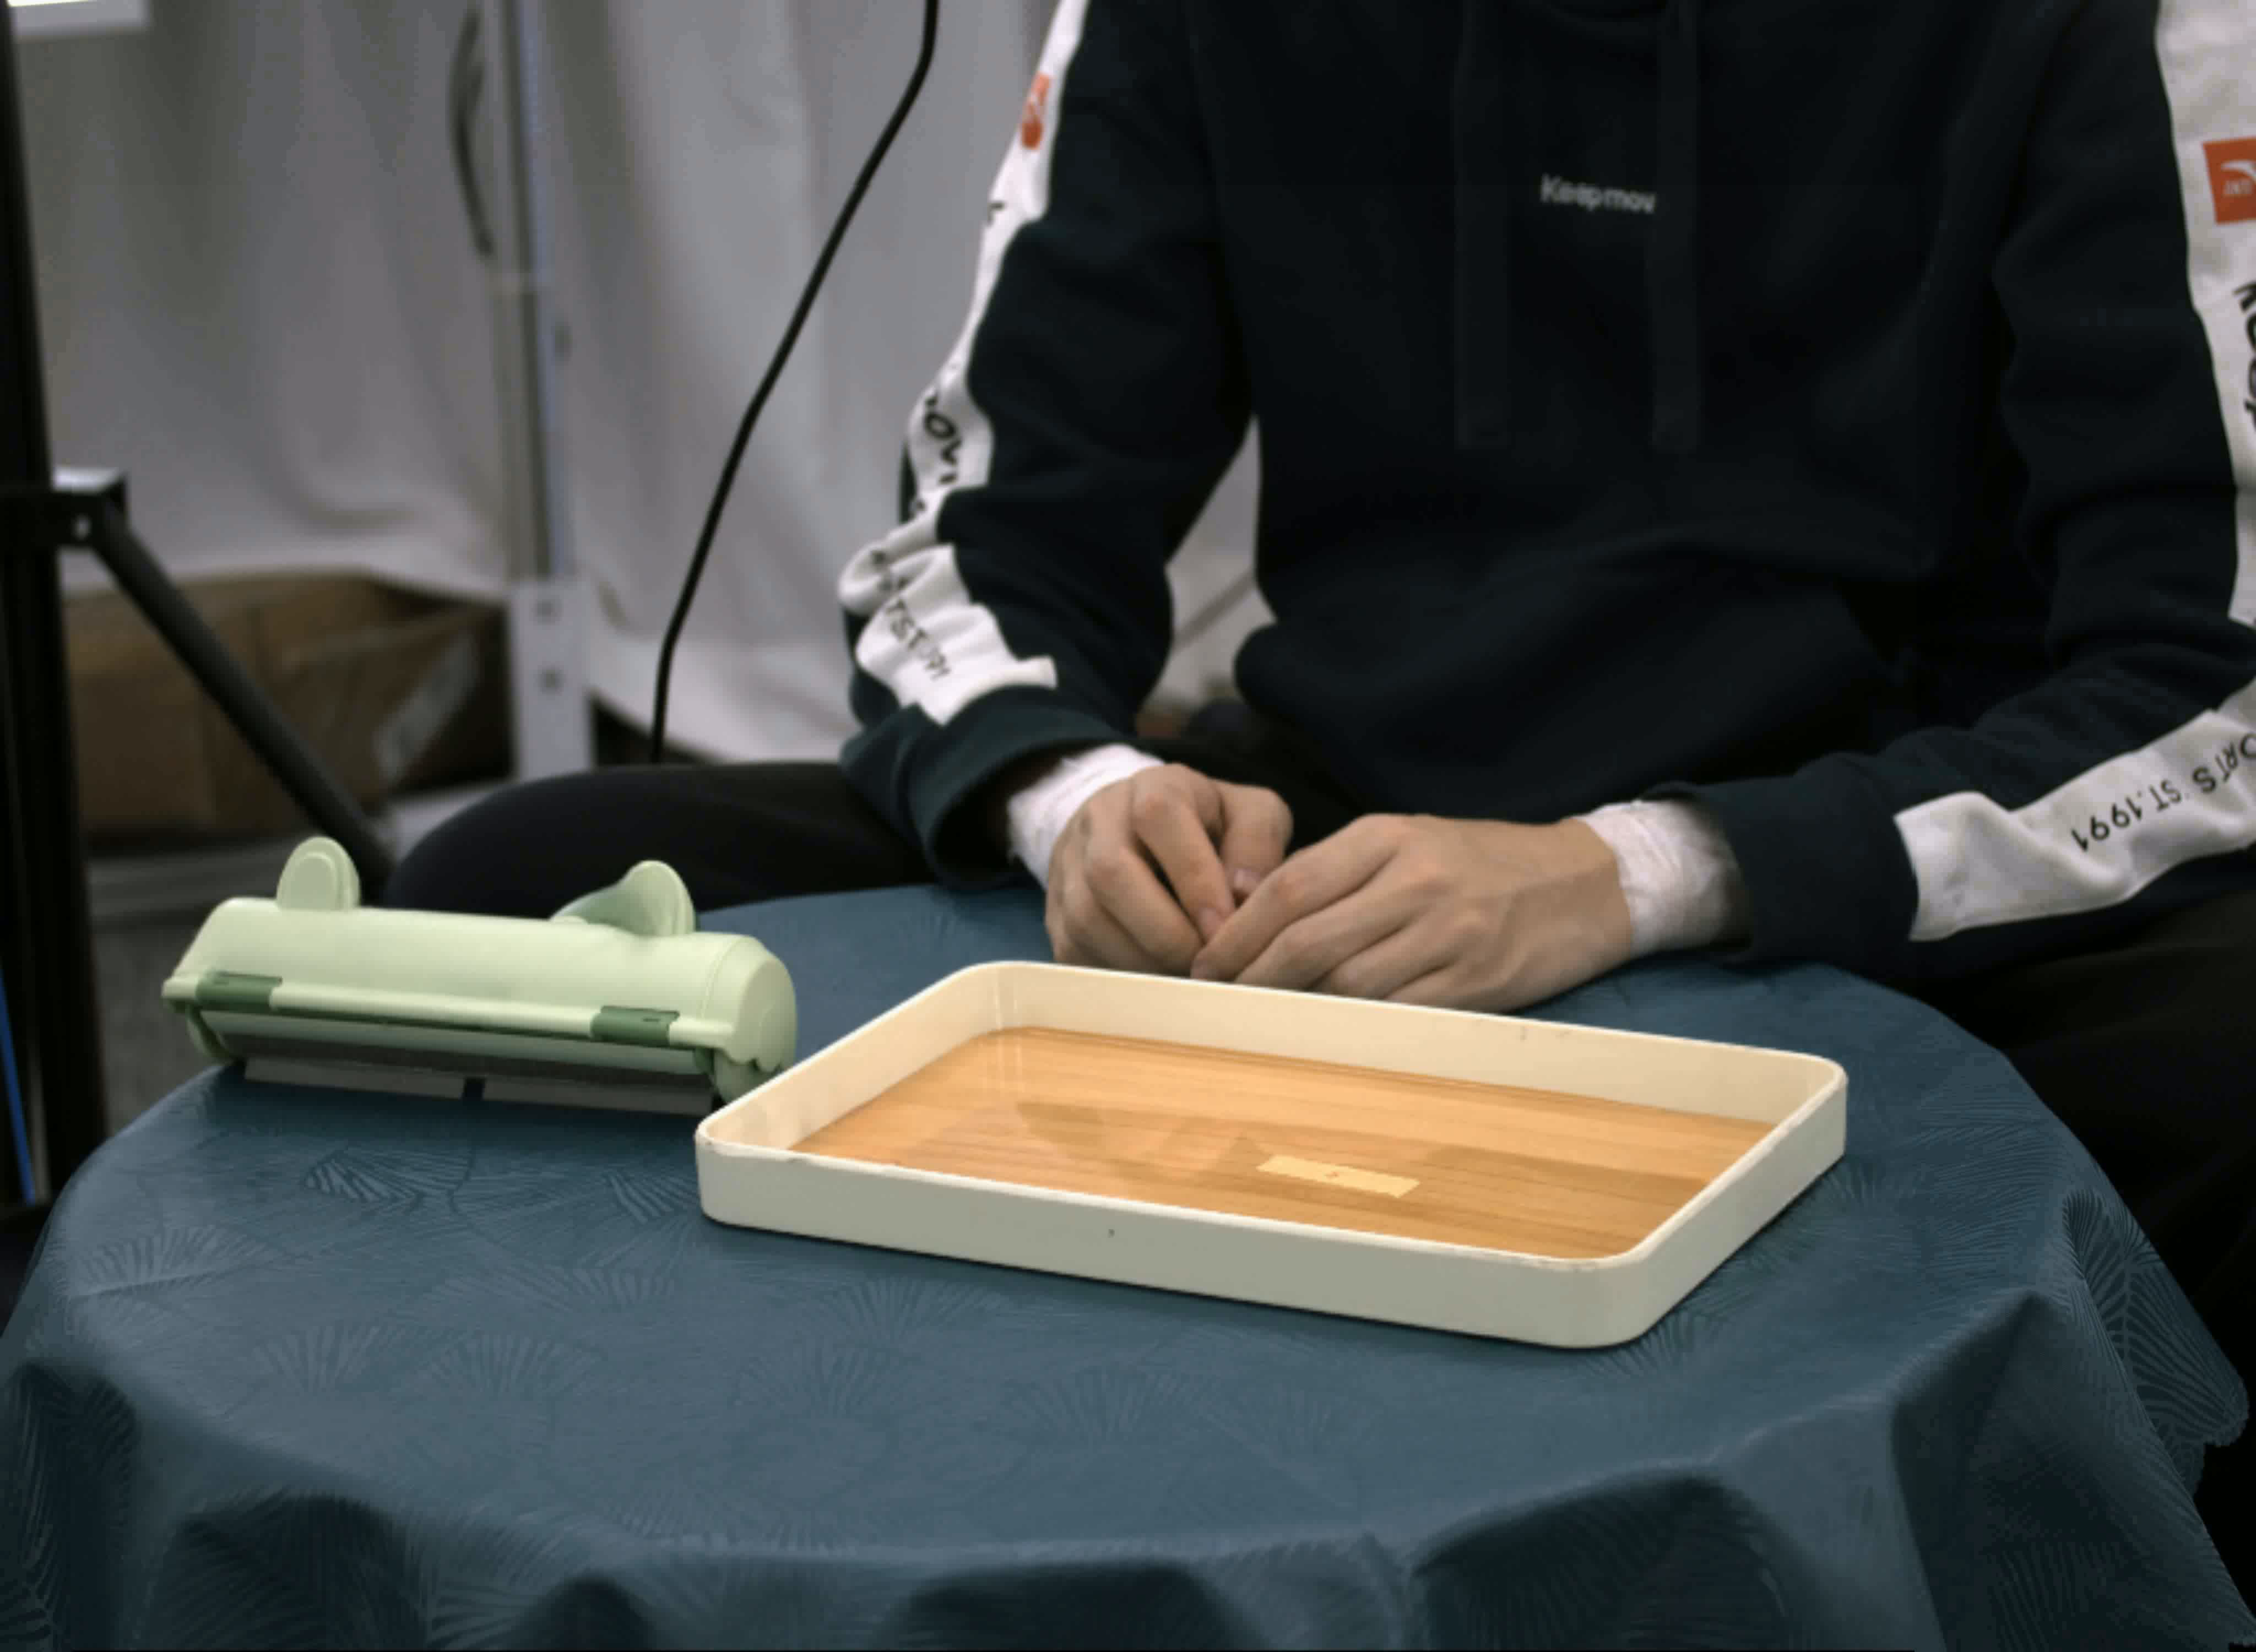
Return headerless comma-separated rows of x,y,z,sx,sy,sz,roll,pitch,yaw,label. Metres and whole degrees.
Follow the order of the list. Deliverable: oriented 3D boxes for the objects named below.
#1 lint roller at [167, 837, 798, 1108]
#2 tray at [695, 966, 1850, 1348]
-0.184,0.030,1.722,0.201,0.082,0.181,3,21,21,lint roller
0.043,0.093,1.554,0.305,0.027,0.188,6,18,29,tray
